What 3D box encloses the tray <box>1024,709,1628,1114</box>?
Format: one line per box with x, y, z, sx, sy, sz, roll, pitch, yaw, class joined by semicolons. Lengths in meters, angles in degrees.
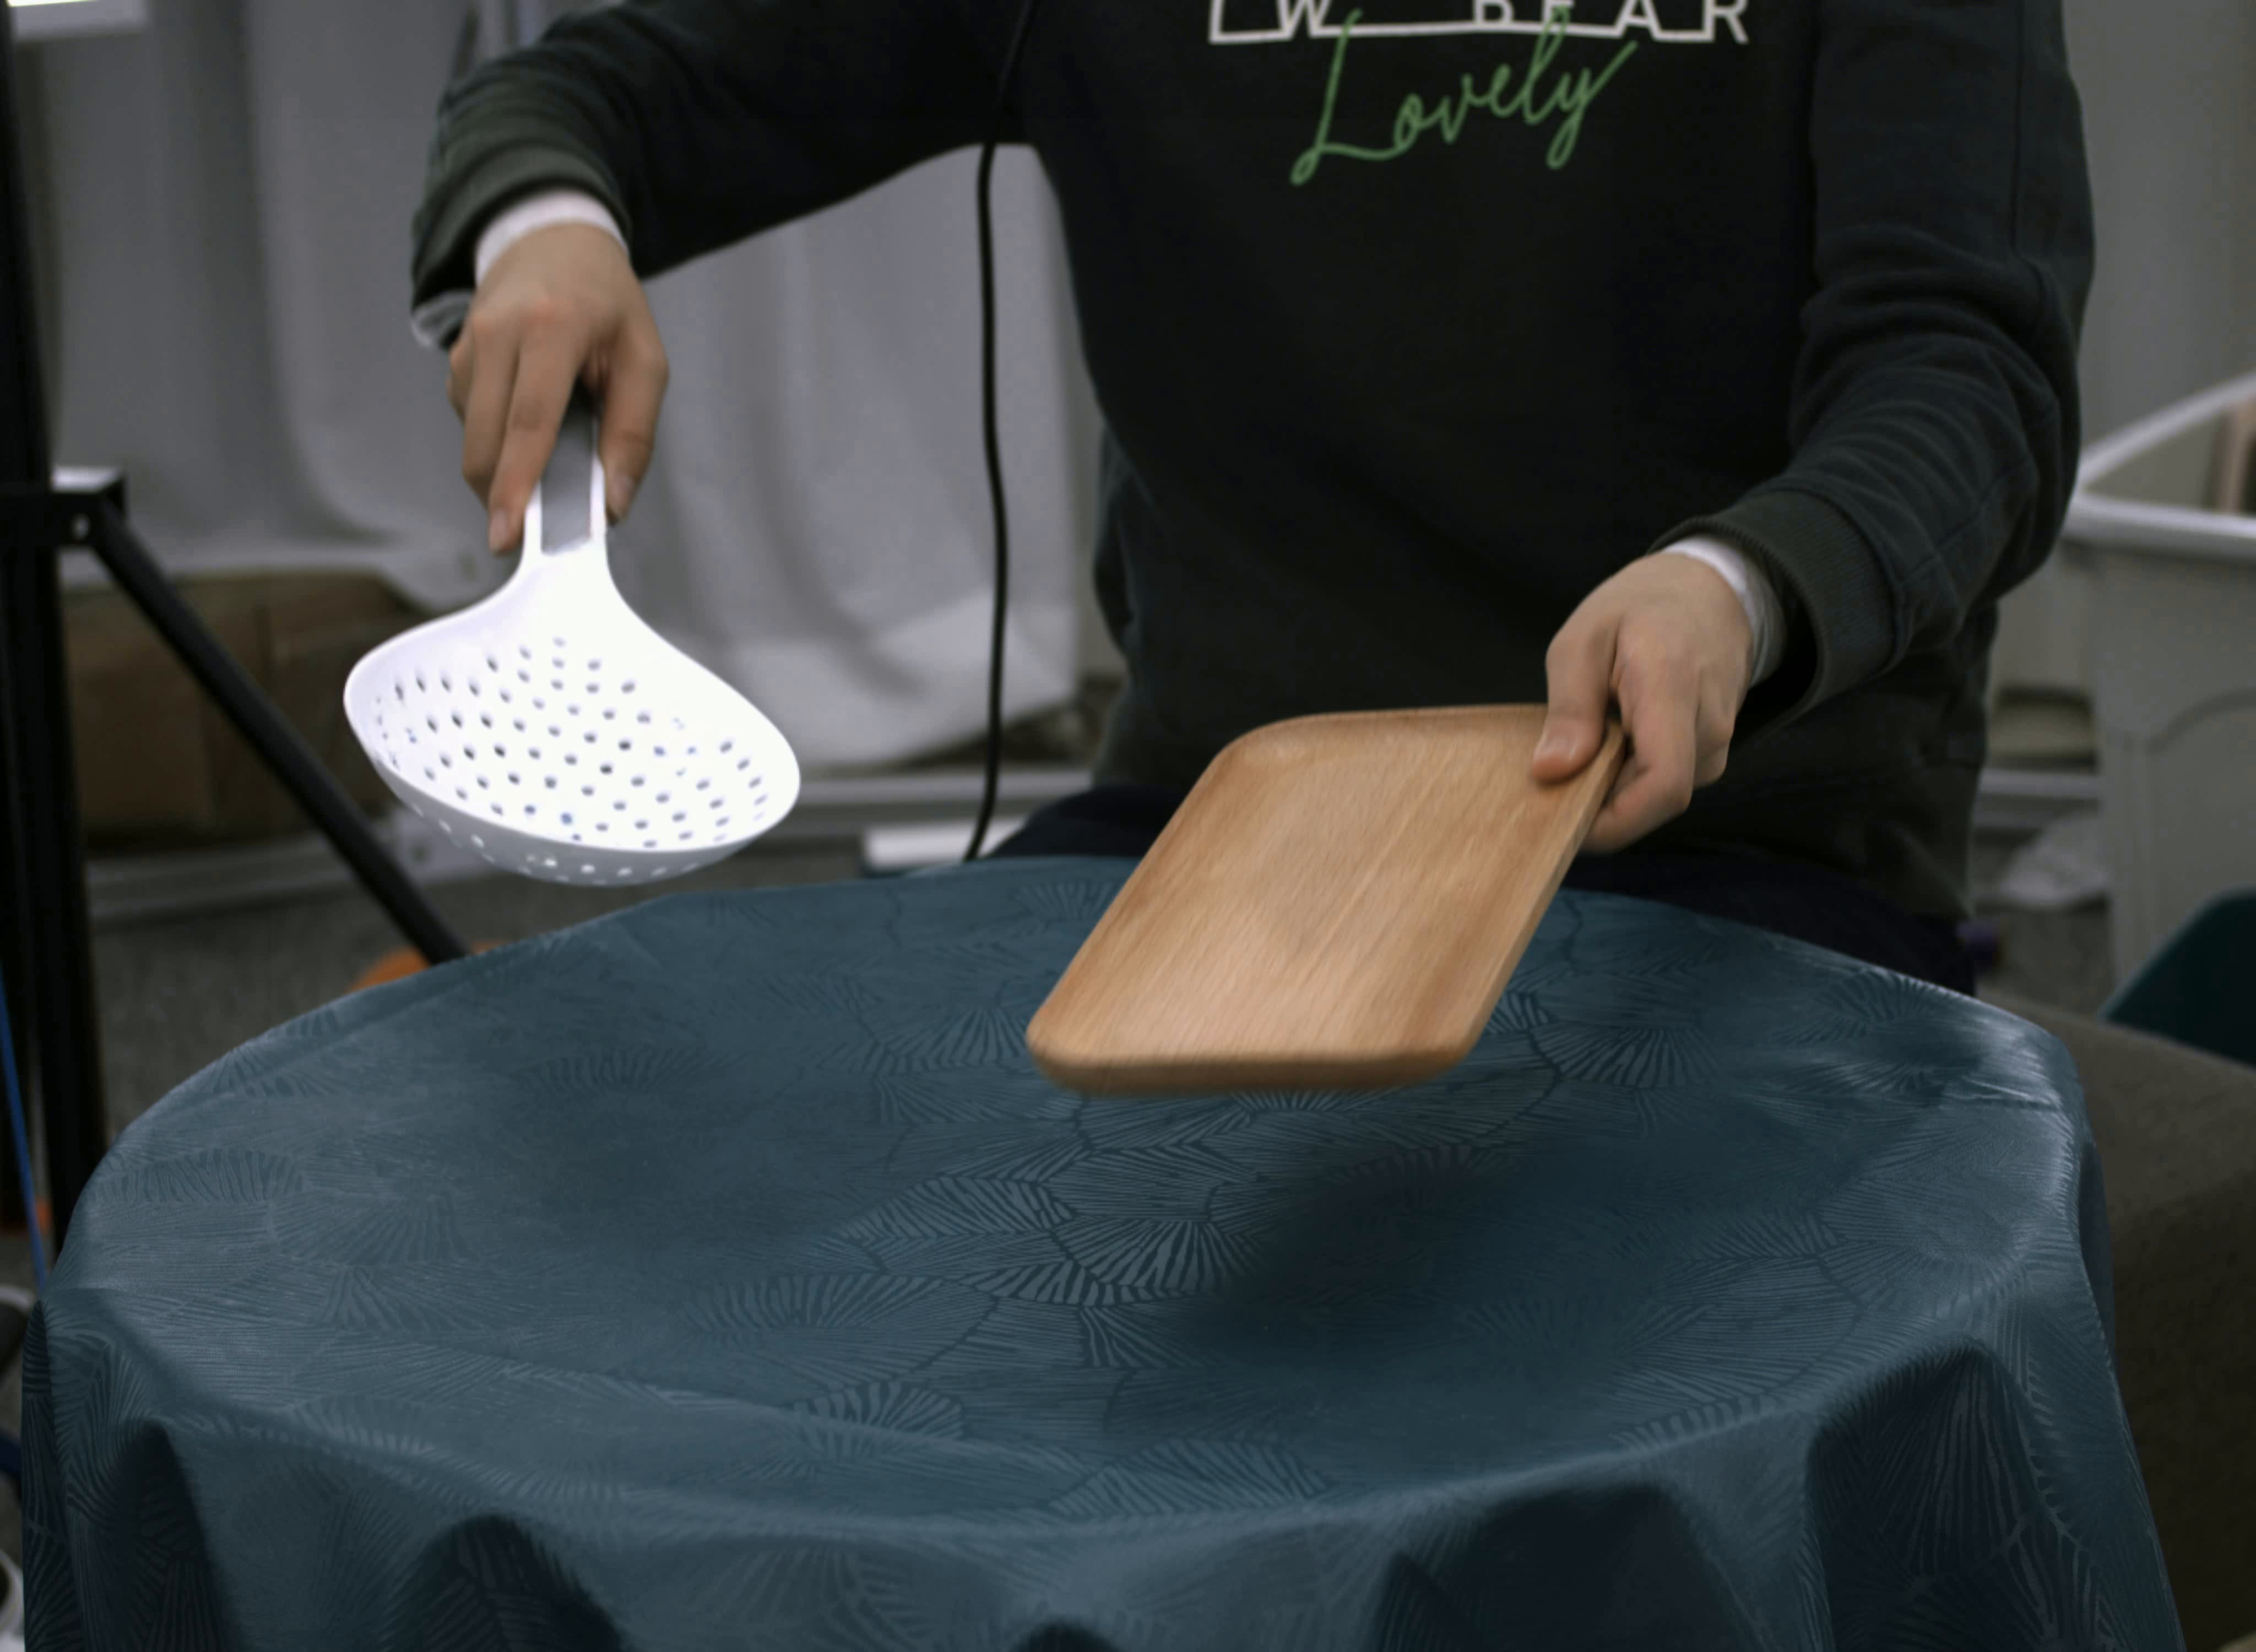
0.061;0.022;1.510;0.132;0.023;0.249;0;23;19;tray

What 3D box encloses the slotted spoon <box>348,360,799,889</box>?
-0.174;-0.070;1.669;0.134;0.046;0.353;10;31;-11;slotted spoon
